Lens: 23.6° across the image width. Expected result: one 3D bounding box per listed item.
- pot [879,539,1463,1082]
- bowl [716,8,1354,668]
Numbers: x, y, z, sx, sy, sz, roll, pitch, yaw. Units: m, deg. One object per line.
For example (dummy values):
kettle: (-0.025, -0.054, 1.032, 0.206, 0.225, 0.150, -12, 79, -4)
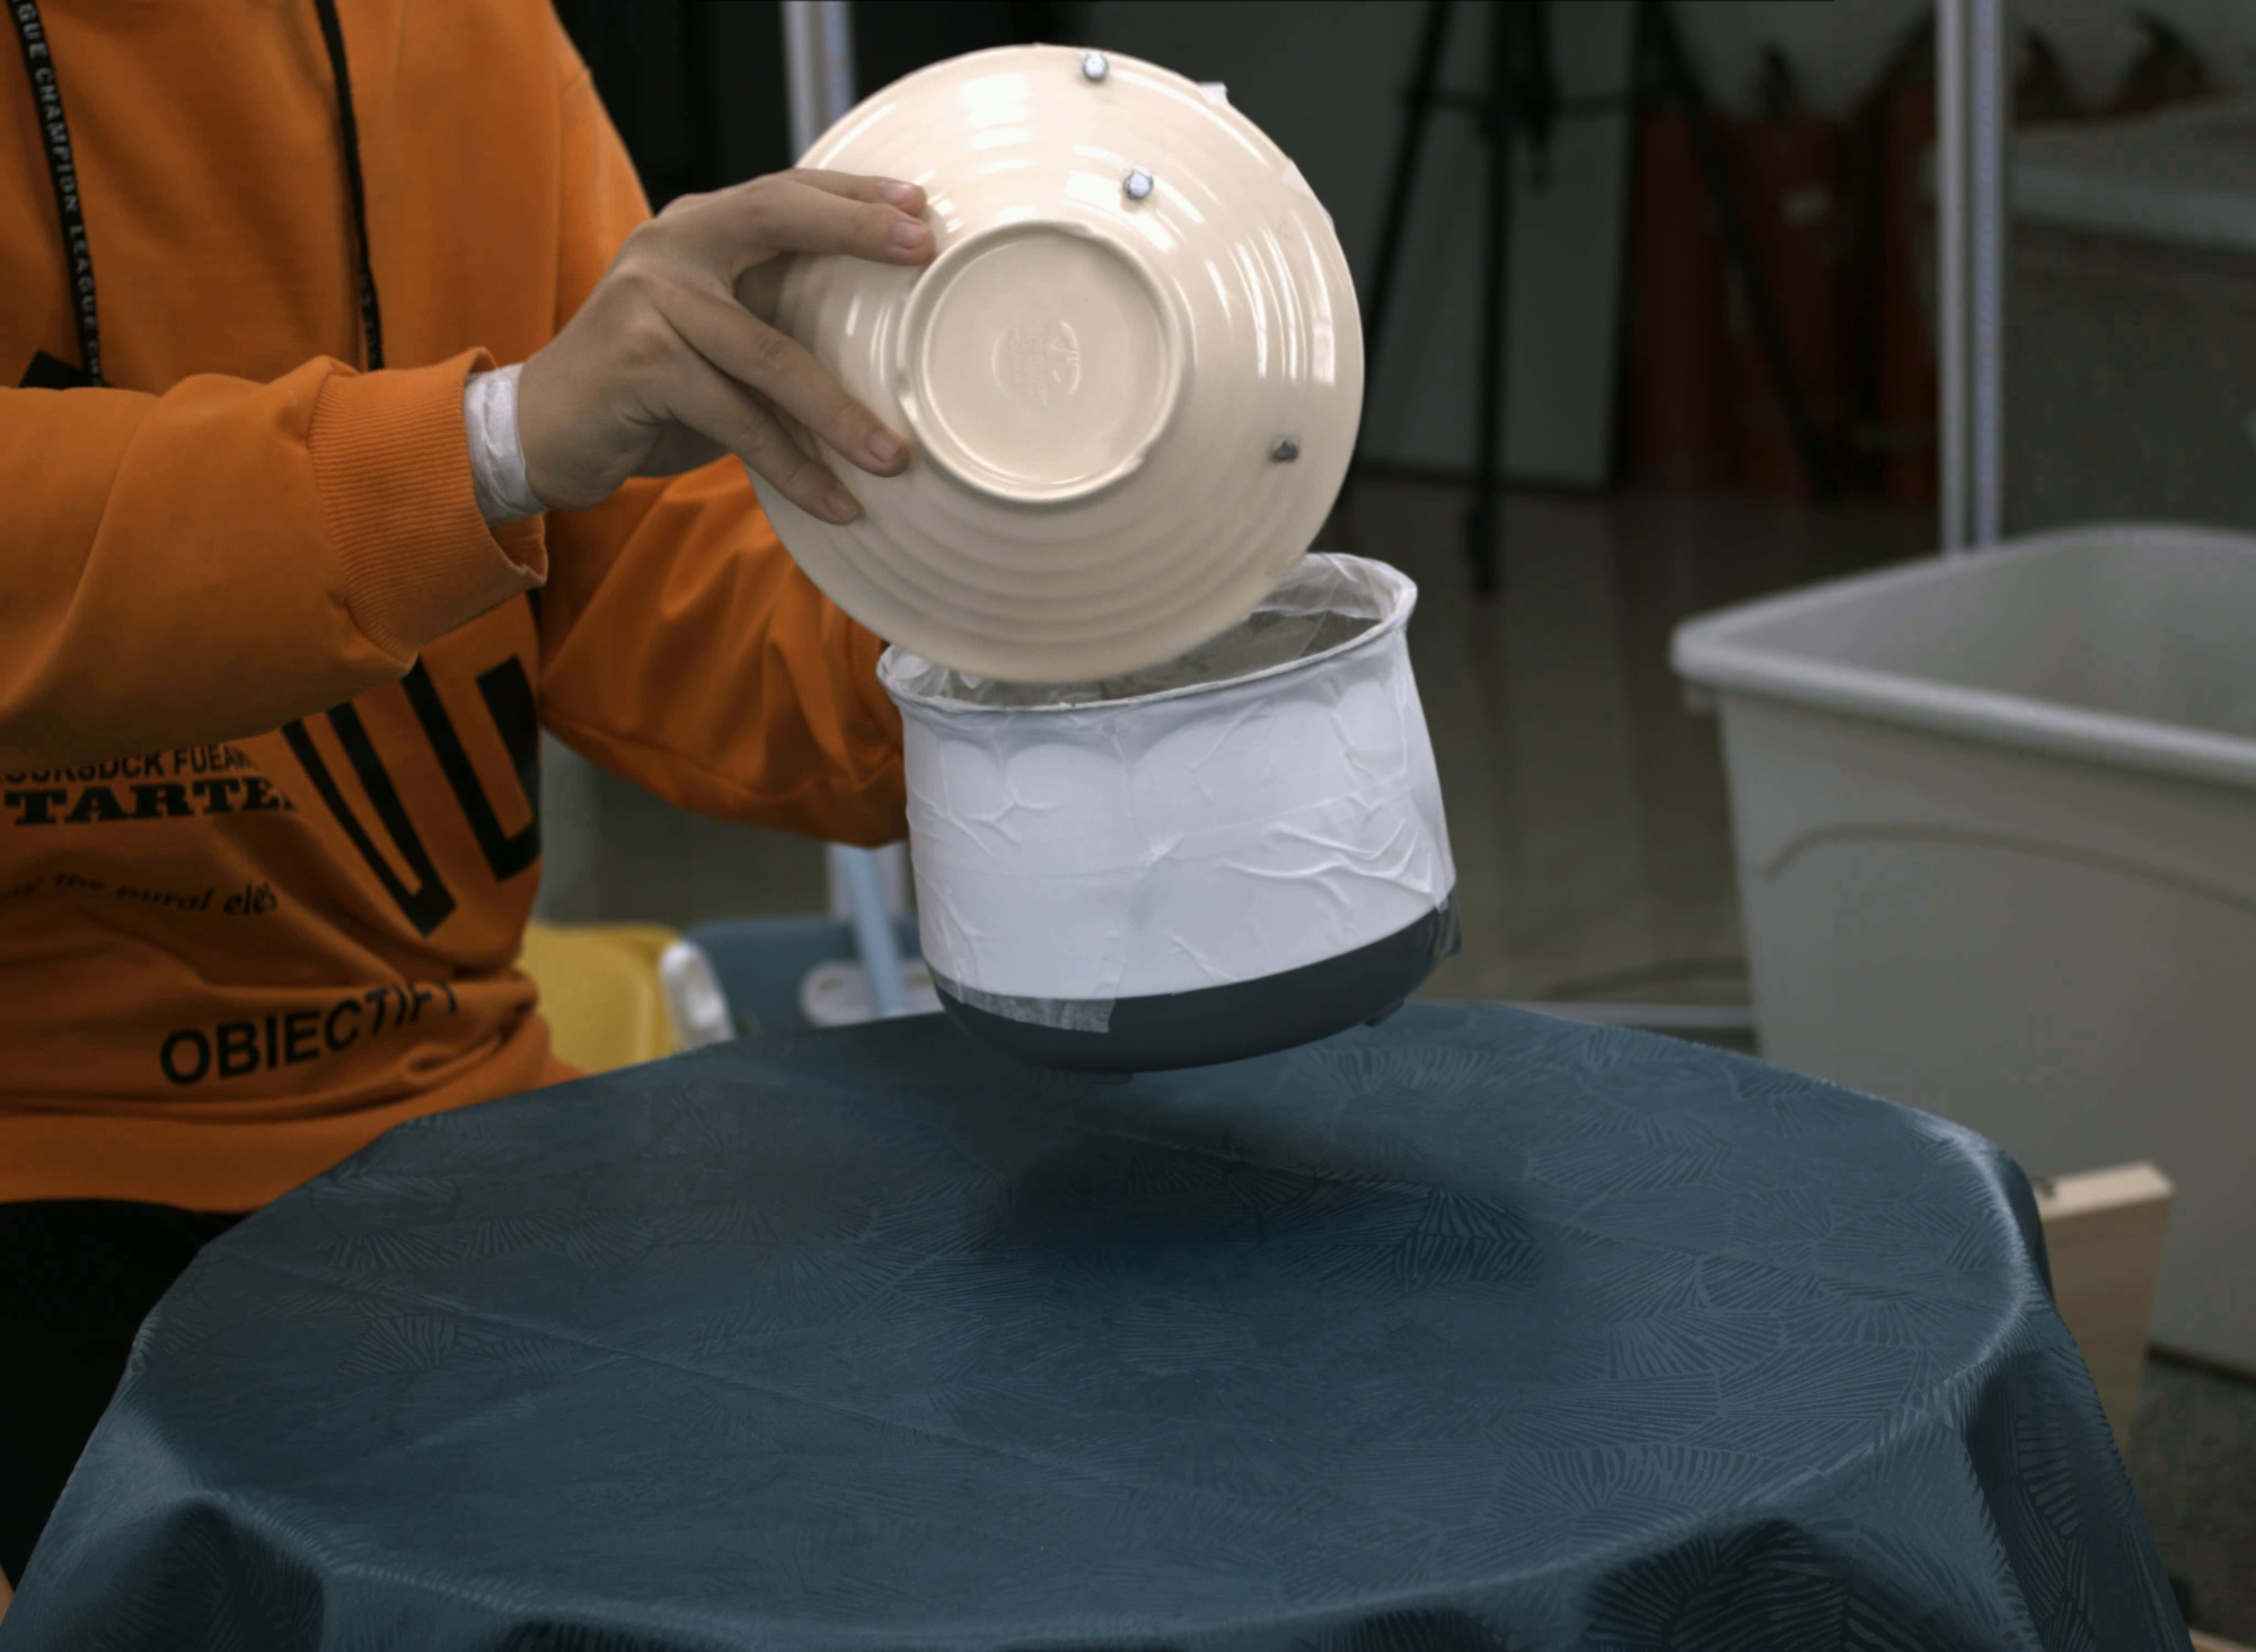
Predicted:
pot: (0.007, -0.012, 1.769, 0.175, 0.138, 0.235, -13, 16, -13)
bowl: (-0.028, -0.151, 1.662, 0.201, 0.206, 0.078, -4, 2, 0)
